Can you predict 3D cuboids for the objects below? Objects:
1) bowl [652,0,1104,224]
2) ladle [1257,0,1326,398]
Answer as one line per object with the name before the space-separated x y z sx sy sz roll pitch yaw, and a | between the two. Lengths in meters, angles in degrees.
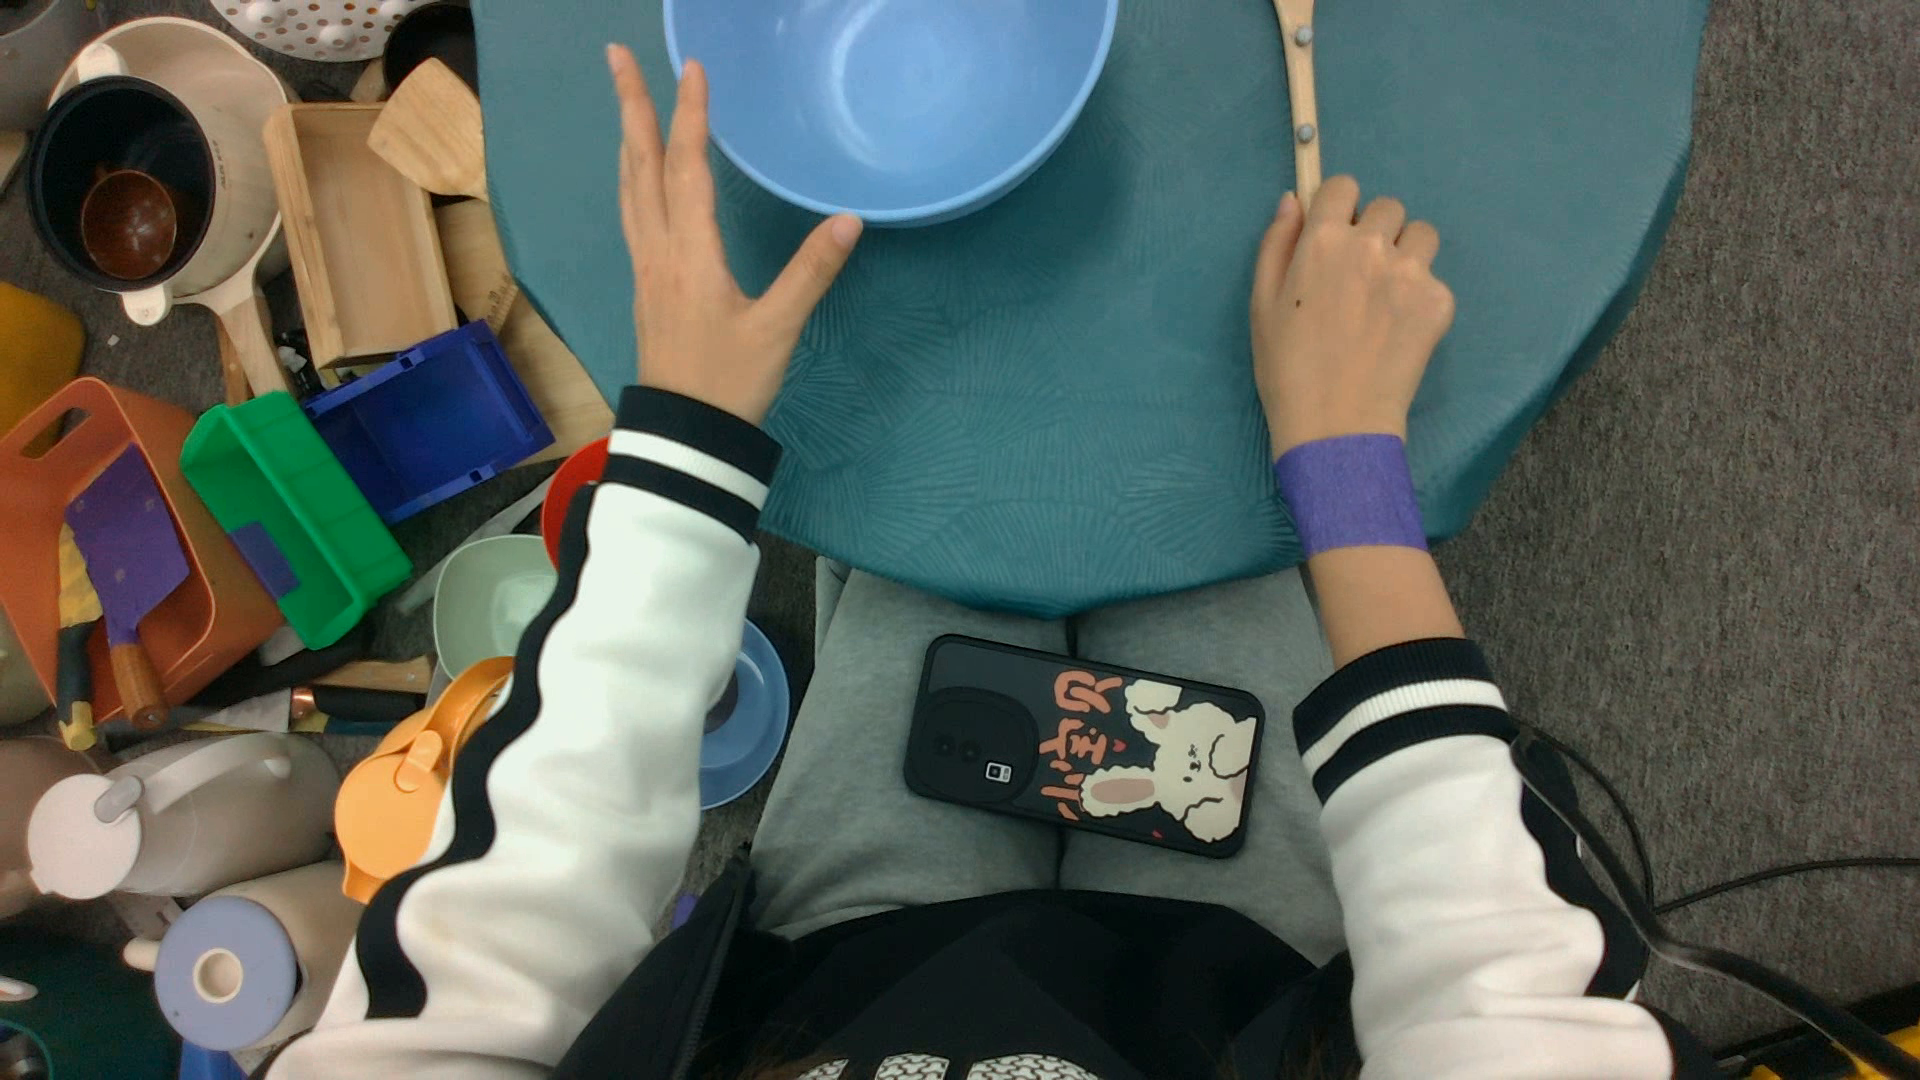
bowl | -0.033 -0.231 0.637 0.196 0.095 0.196 0 85 4
ladle | 0.166 -0.196 0.623 0.072 0.072 0.254 -2 86 -19
